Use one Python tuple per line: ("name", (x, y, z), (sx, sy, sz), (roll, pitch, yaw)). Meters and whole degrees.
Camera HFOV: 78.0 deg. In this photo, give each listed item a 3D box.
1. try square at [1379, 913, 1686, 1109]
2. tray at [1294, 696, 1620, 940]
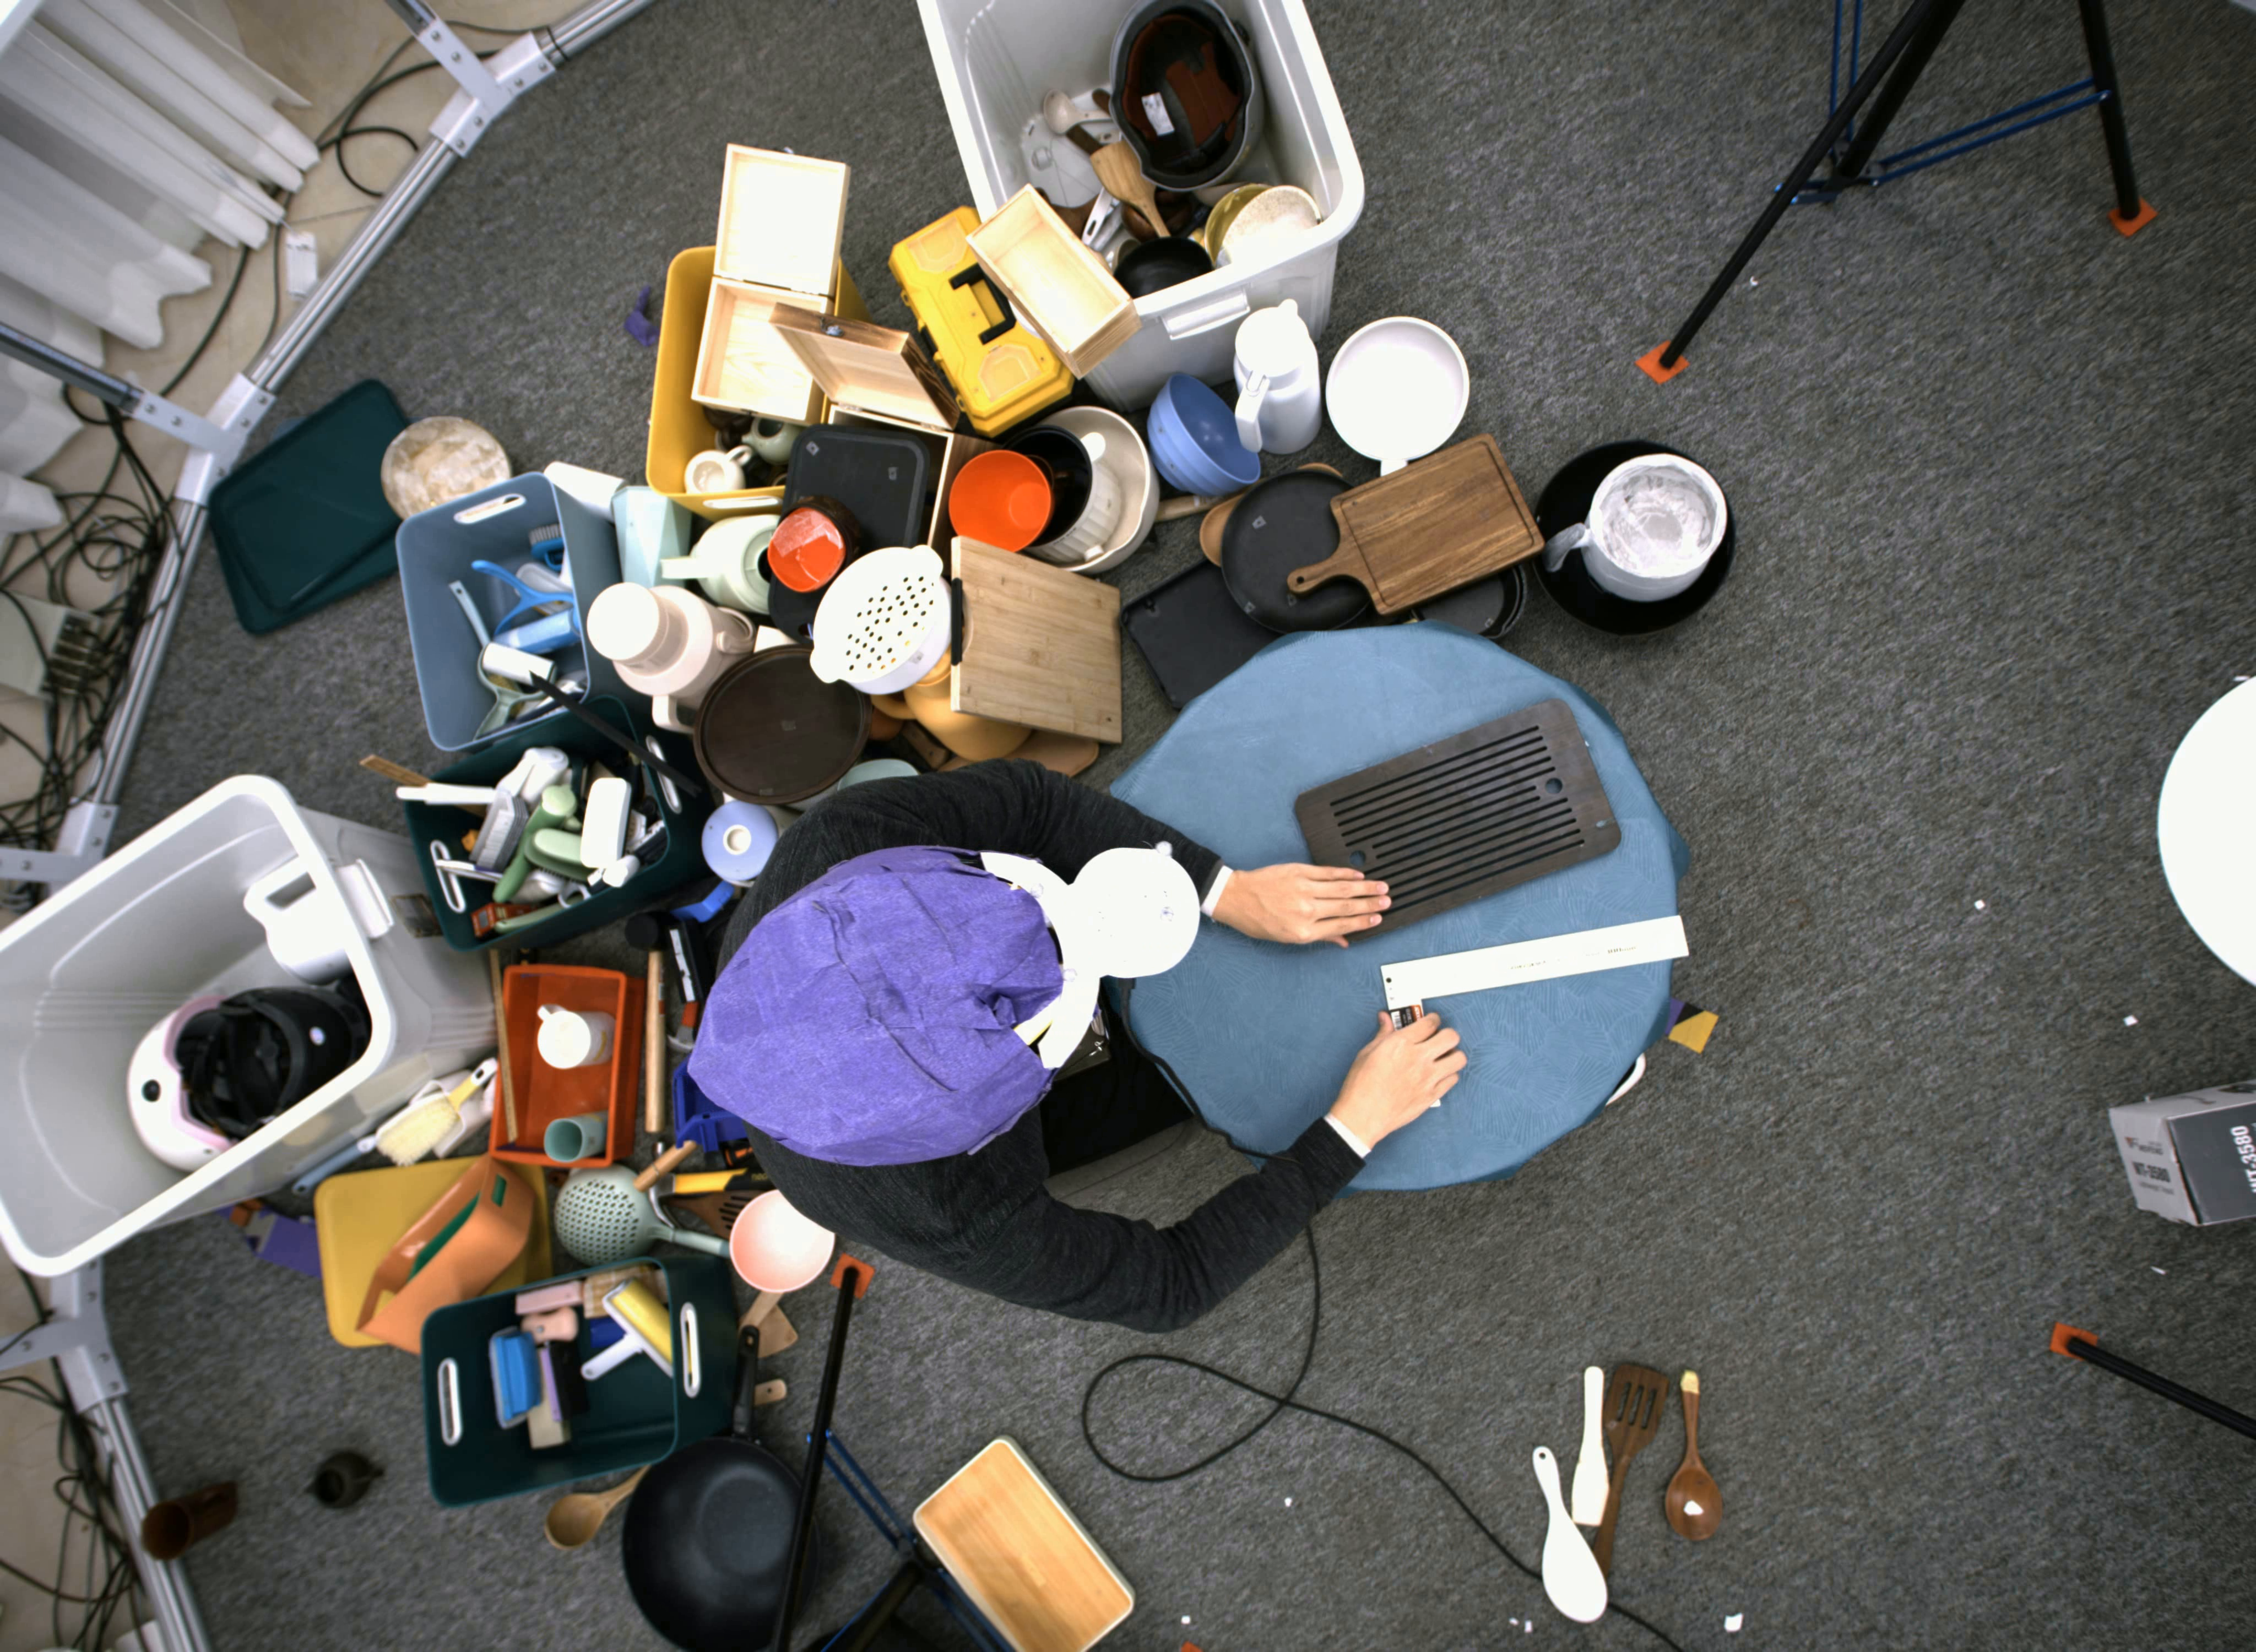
("try square", (0.425, 0.189, 1.420), (0.314, 0.016, 0.151), (-11, 84, 9))
("tray", (0.342, -0.010, 1.442), (0.308, 0.018, 0.169), (-21, 84, 9))
